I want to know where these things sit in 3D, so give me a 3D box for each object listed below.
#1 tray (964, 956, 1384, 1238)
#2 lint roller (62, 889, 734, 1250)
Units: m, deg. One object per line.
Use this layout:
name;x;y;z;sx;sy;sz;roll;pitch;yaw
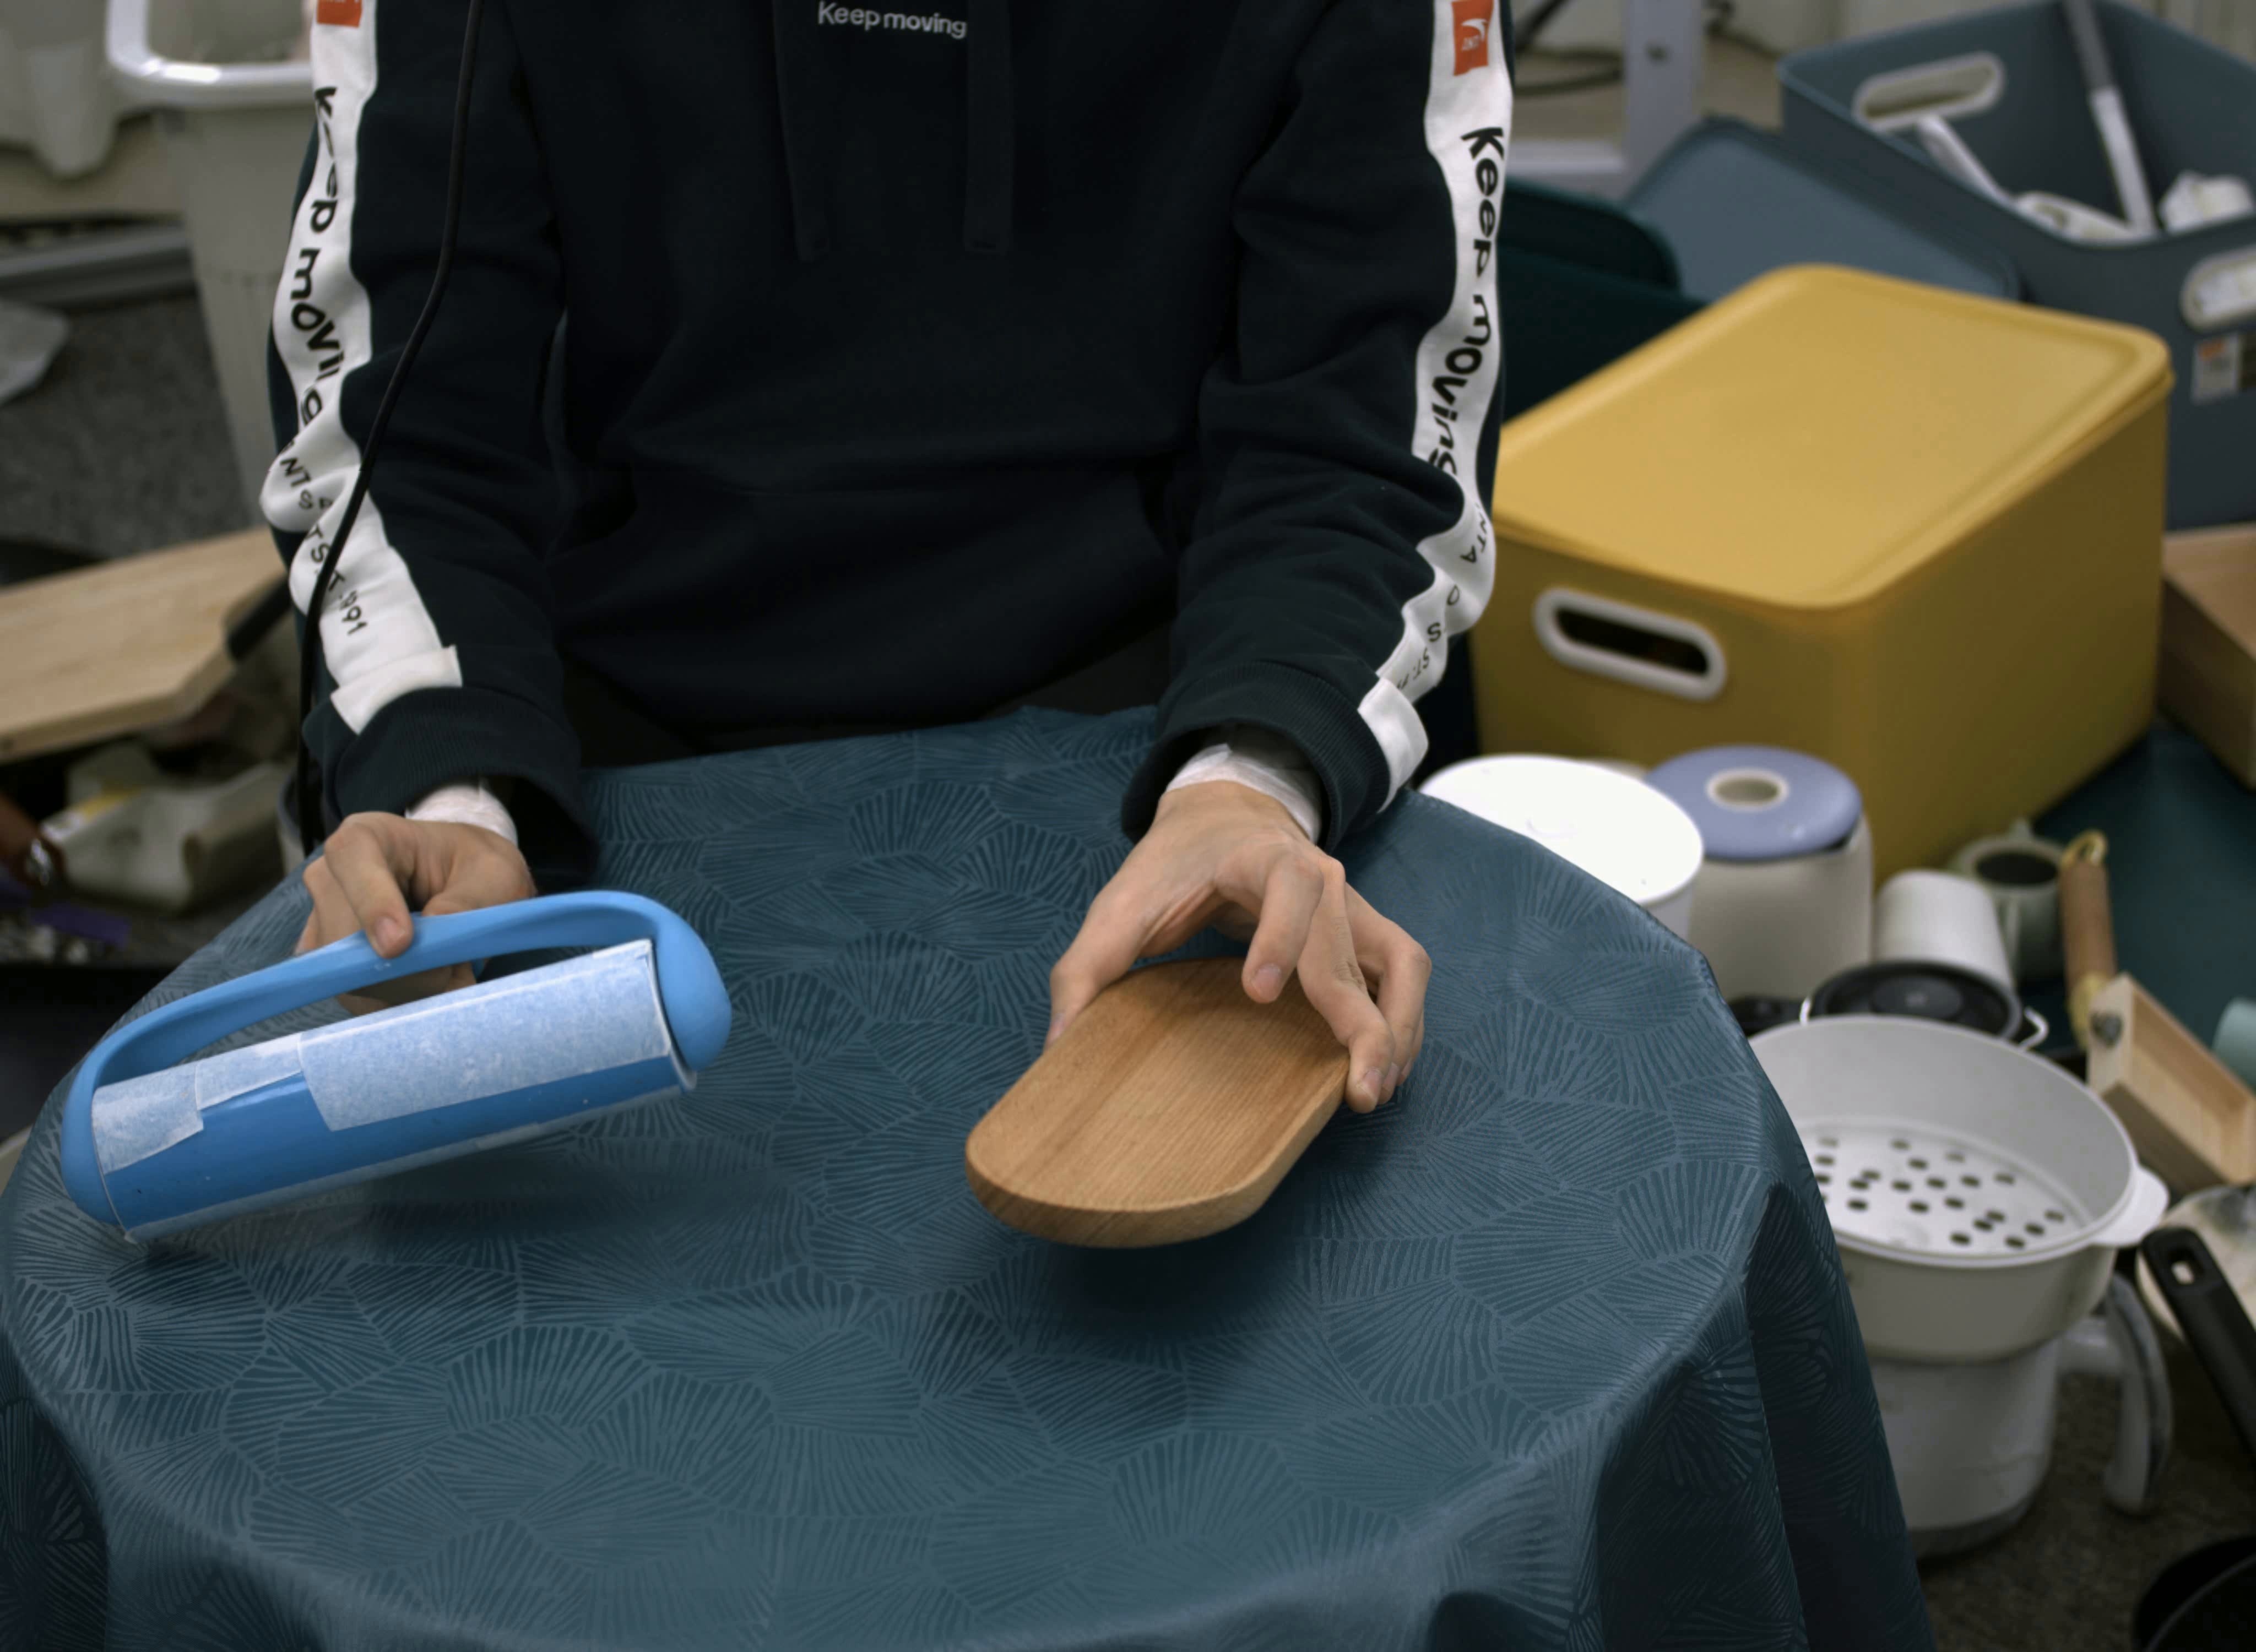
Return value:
tray;0.017;0.087;1.852;0.101;0.020;0.234;8;18;15
lint roller;-0.245;0.065;1.897;0.228;0.067;0.182;-18;21;1
